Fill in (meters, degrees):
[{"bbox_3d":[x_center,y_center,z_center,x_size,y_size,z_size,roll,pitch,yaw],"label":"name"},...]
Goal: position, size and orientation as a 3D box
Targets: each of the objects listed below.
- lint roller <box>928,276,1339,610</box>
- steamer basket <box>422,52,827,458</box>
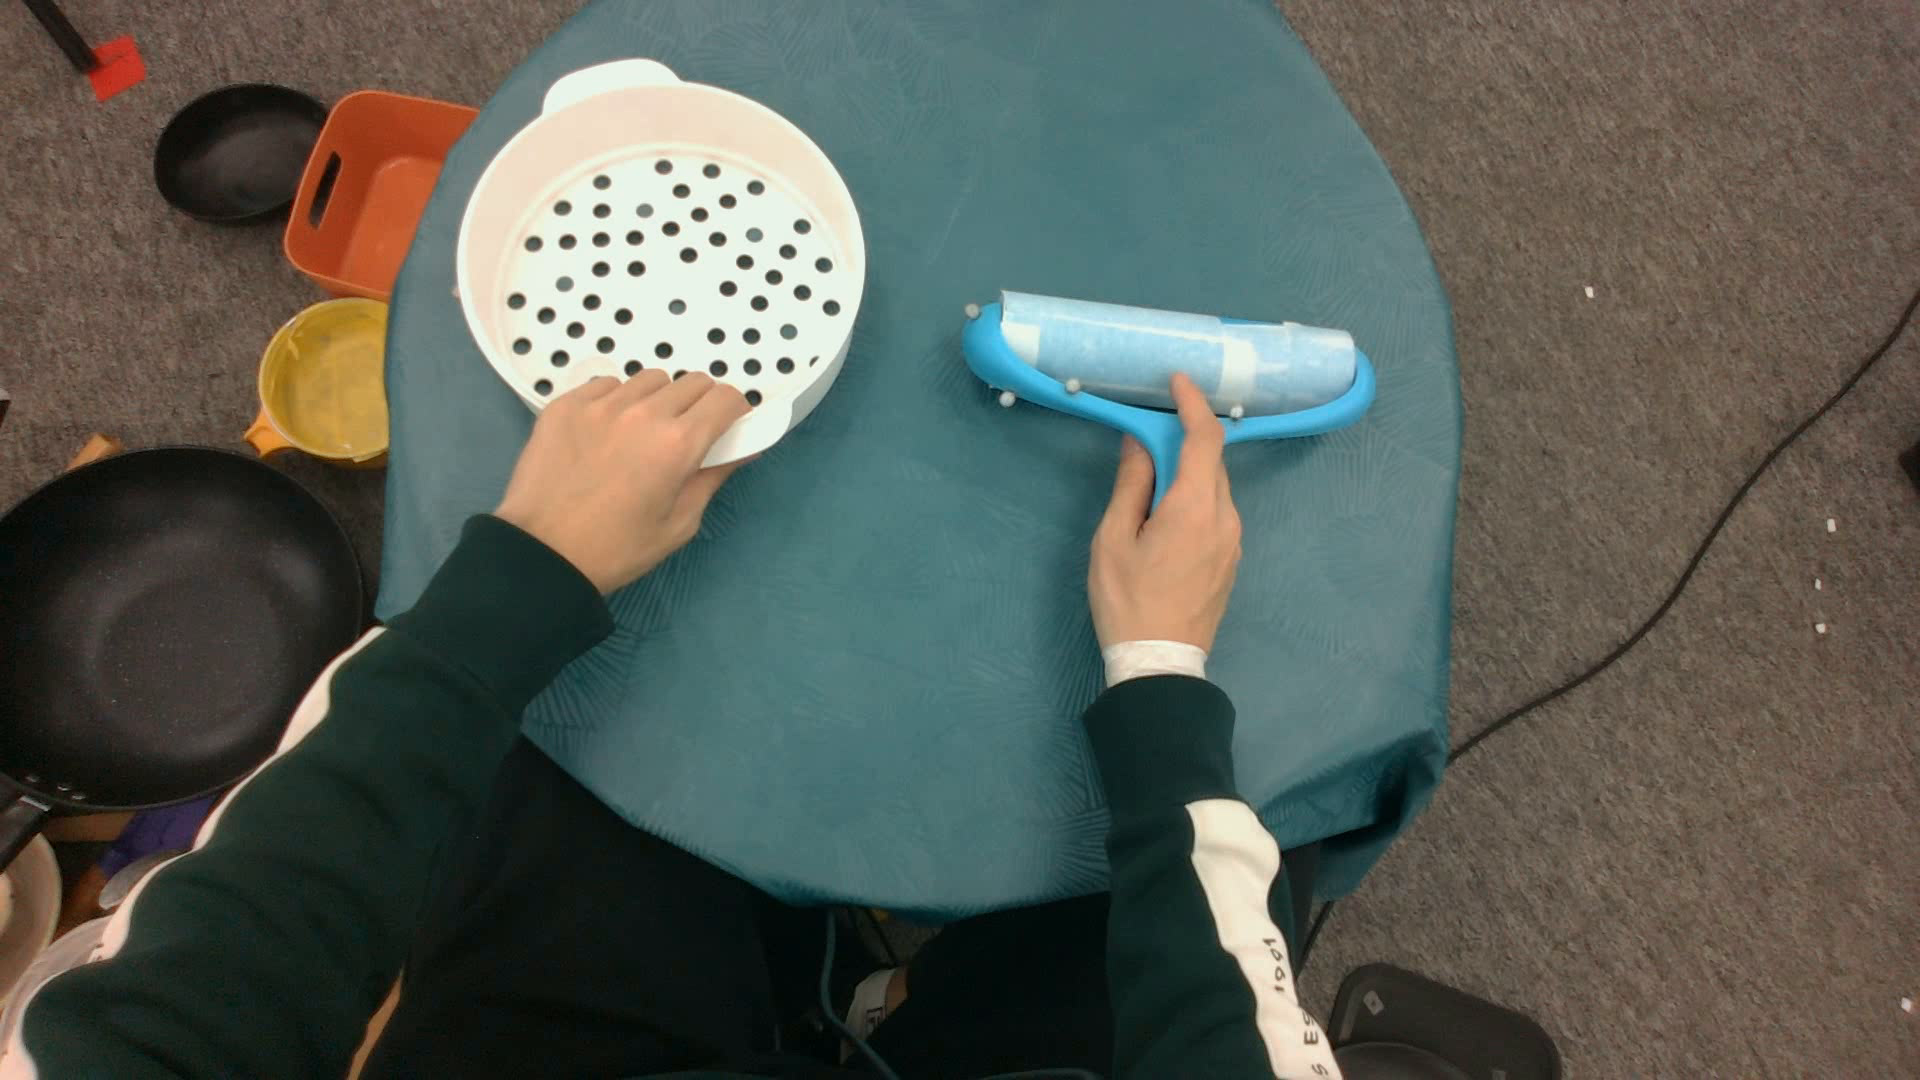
[{"bbox_3d":[0.100,-0.057,0.741,0.229,0.067,0.180,0,72,-10],"label":"lint roller"},{"bbox_3d":[-0.170,-0.142,0.722,0.202,0.069,0.231,-21,77,-9],"label":"steamer basket"}]
